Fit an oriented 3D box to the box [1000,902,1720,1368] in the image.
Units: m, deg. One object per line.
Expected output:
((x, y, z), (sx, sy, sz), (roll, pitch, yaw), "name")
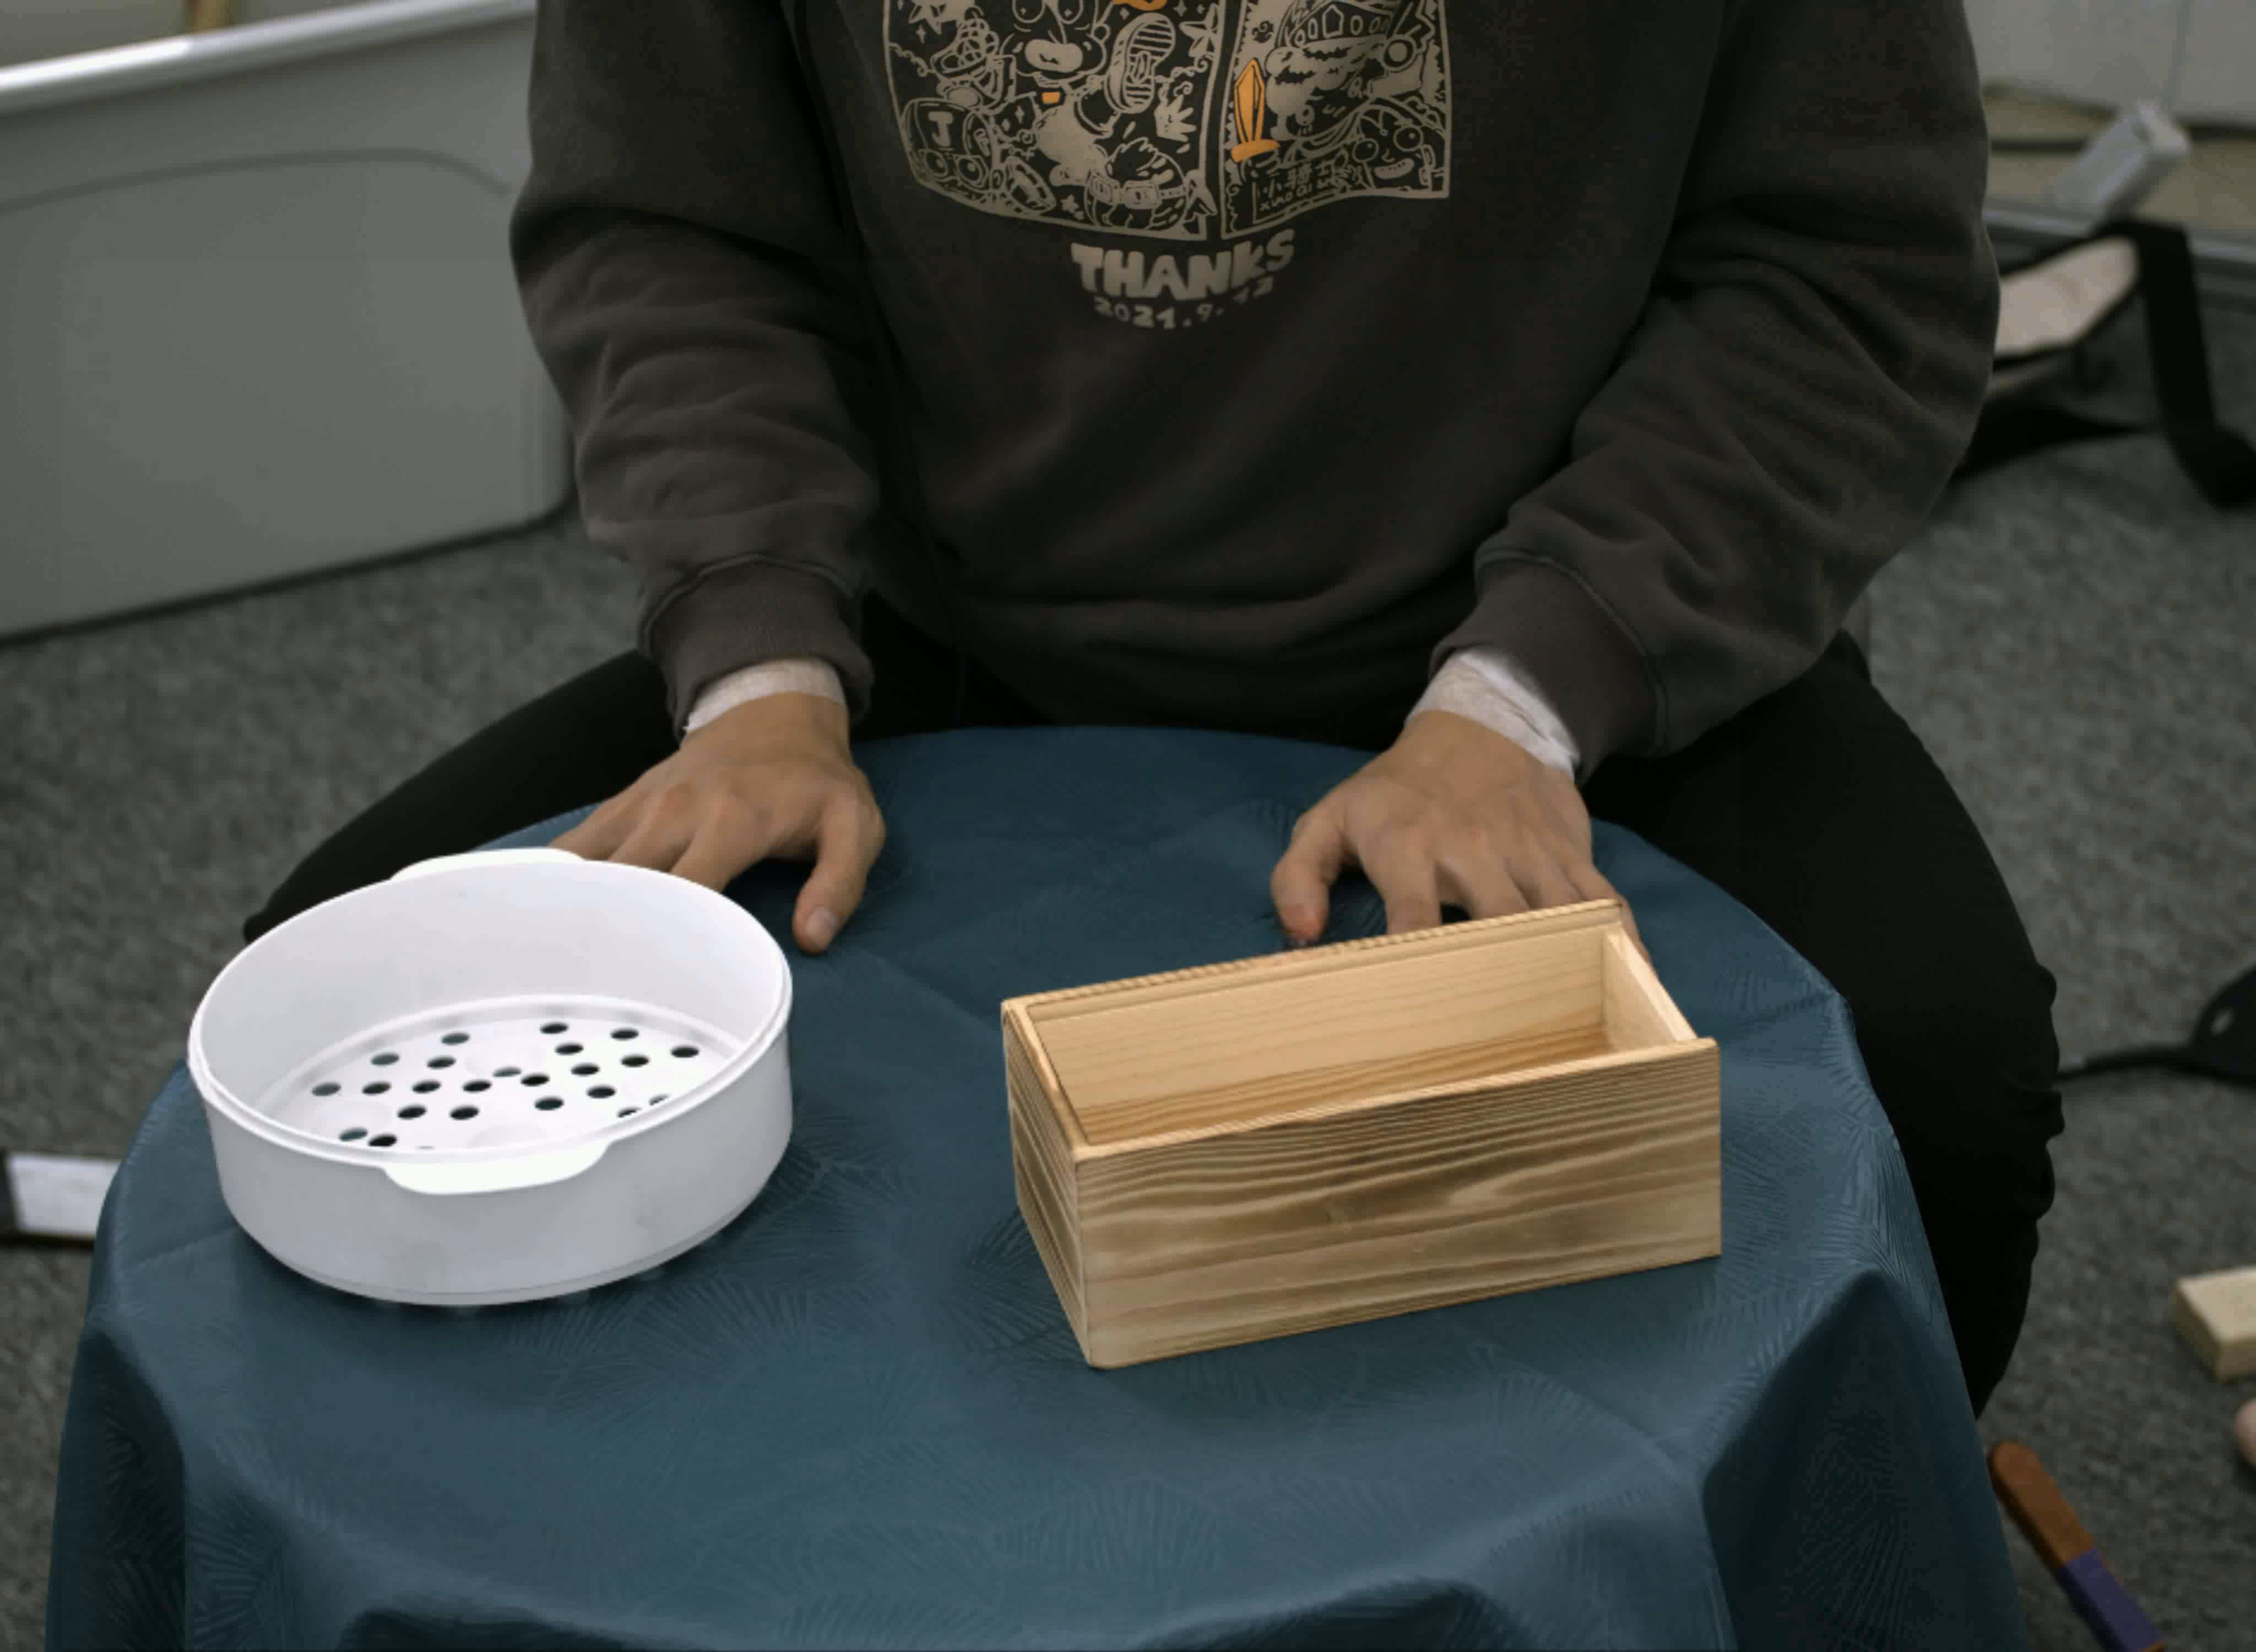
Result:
((0.074, 0.098, 1.813), (0.211, 0.079, 0.108), (-9, 27, -12), "box")

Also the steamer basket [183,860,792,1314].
((-0.211, 0.089, 1.872), (0.201, 0.068, 0.233), (-5, 27, -5), "steamer basket")
